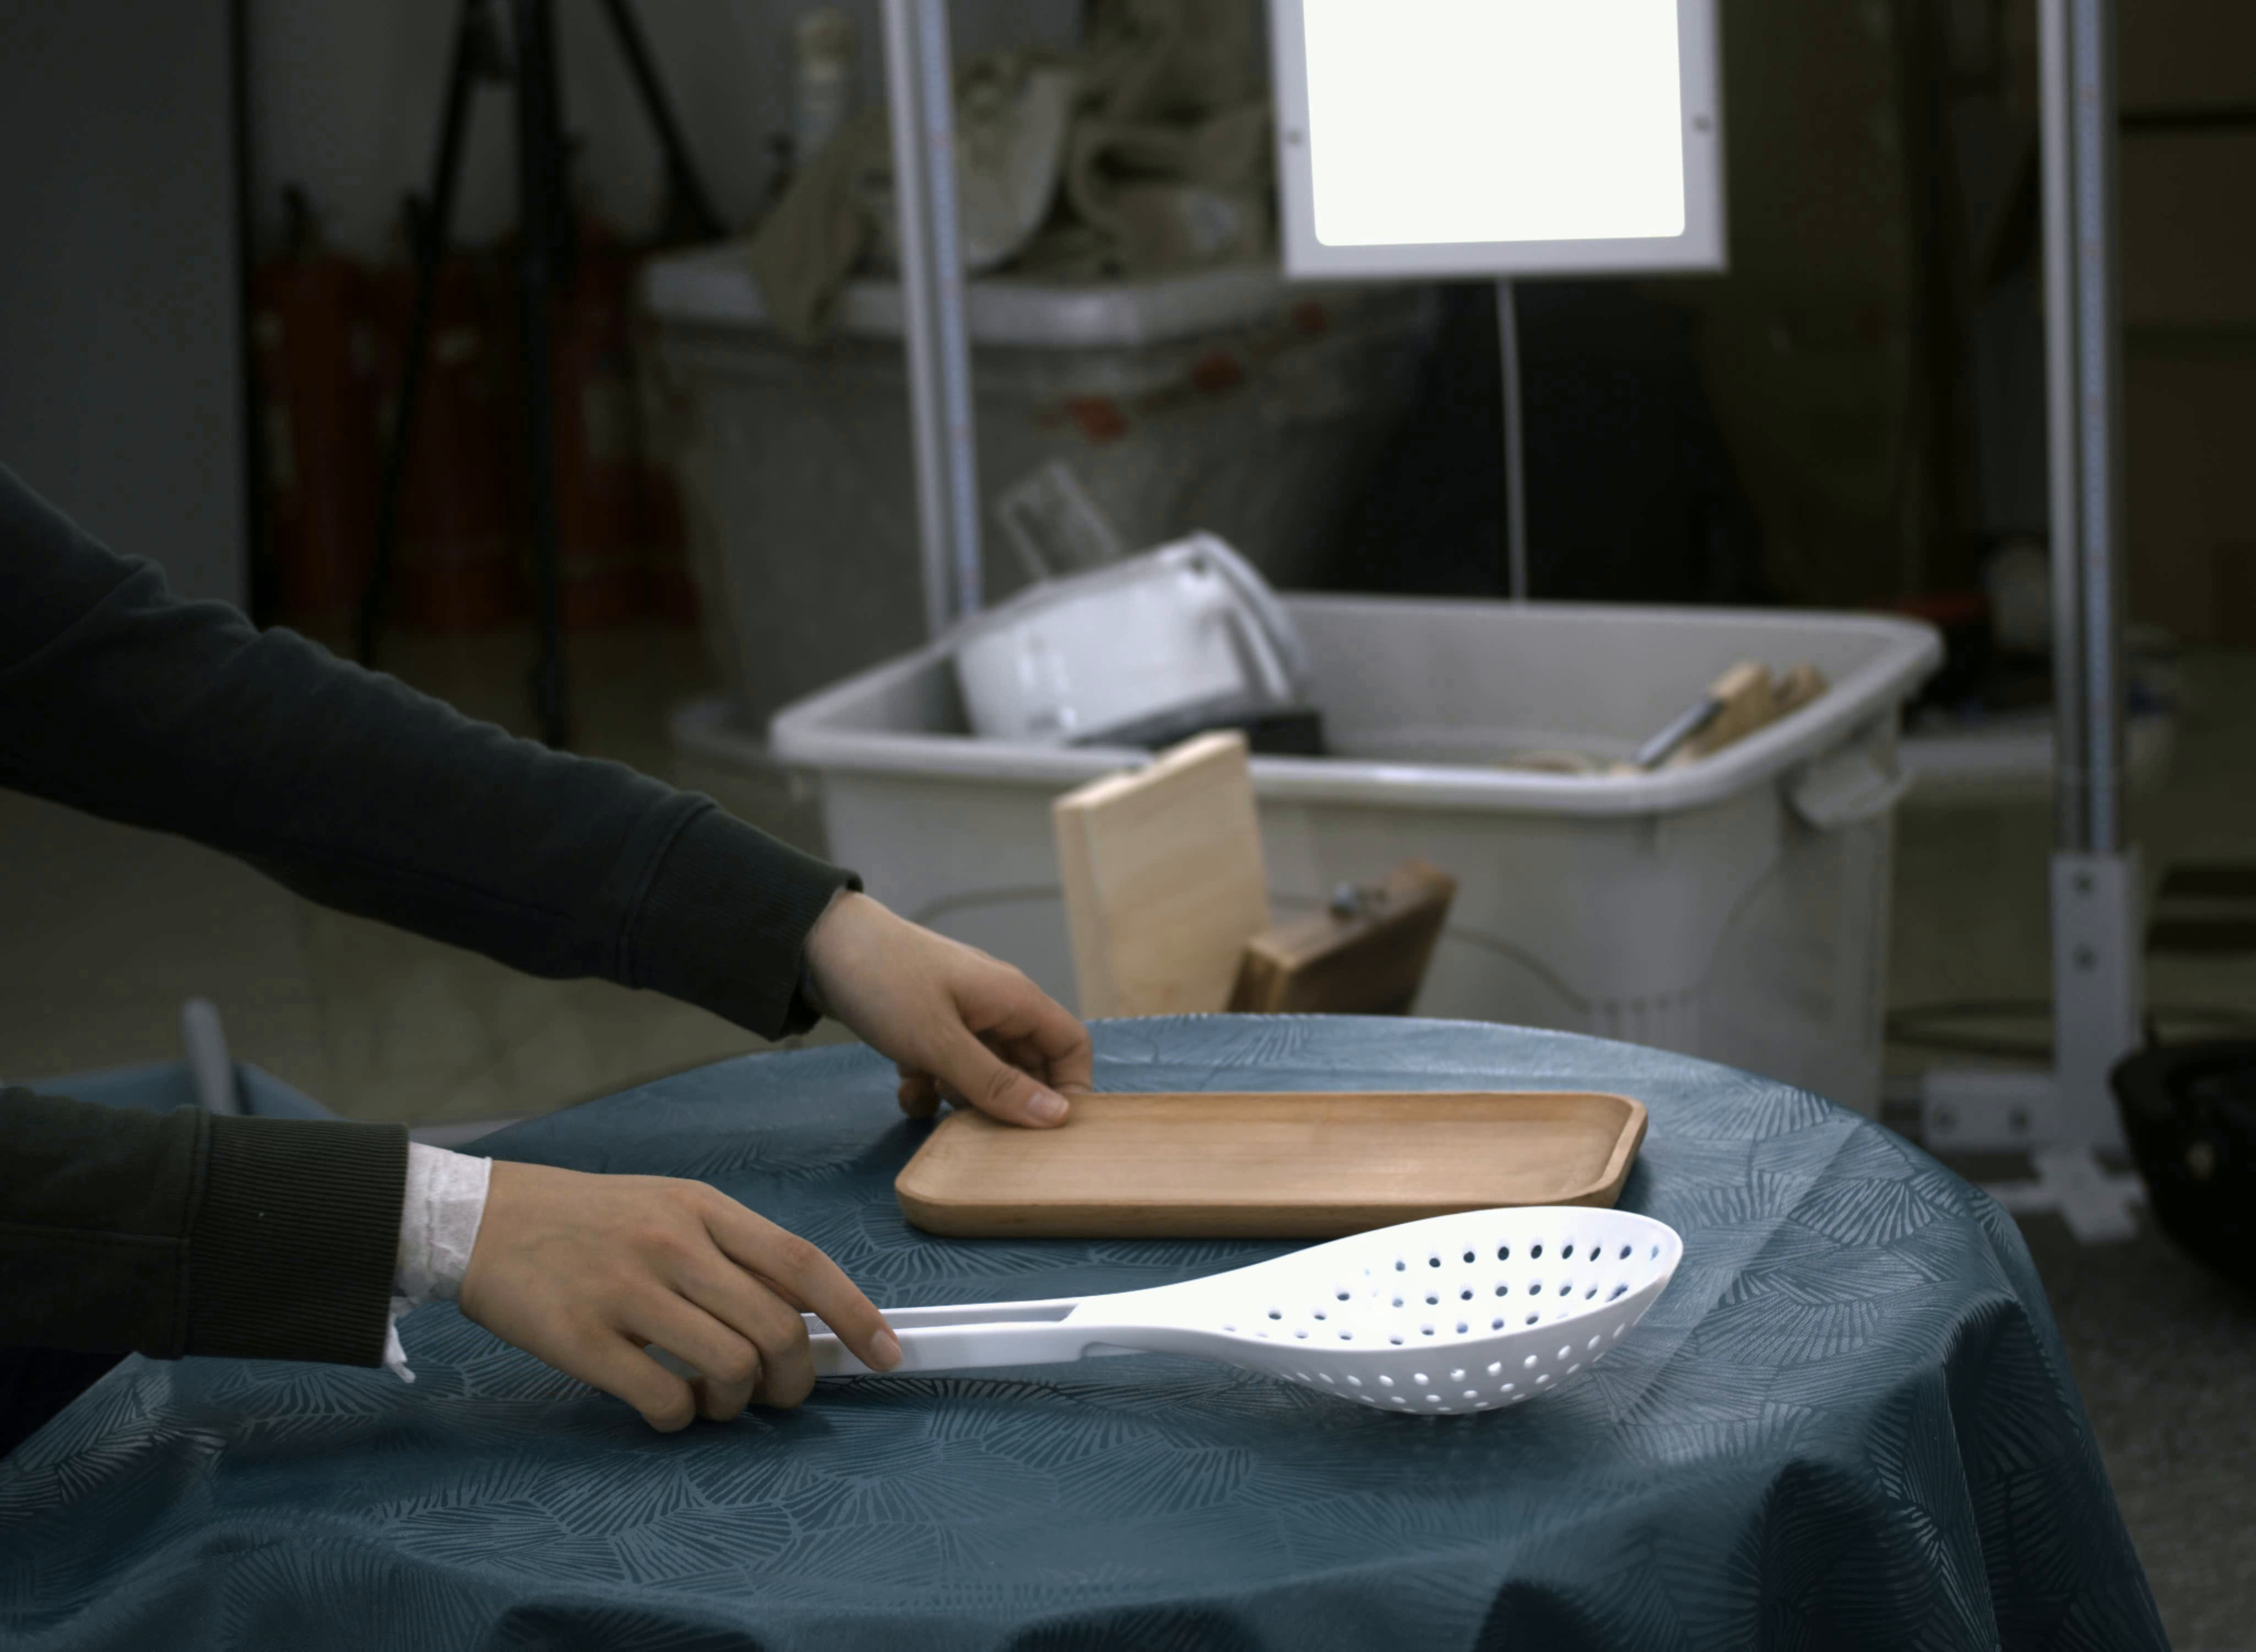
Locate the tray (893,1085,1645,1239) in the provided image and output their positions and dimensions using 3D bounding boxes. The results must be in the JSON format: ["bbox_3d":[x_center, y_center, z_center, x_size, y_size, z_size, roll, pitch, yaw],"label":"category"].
[{"bbox_3d":[0.050,0.116,1.889,0.253,0.023,0.129,-2,12,16],"label":"tray"}]

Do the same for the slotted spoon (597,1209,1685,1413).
[{"bbox_3d":[0.000,0.152,1.696,0.354,0.046,0.134,-1,12,19],"label":"slotted spoon"}]
